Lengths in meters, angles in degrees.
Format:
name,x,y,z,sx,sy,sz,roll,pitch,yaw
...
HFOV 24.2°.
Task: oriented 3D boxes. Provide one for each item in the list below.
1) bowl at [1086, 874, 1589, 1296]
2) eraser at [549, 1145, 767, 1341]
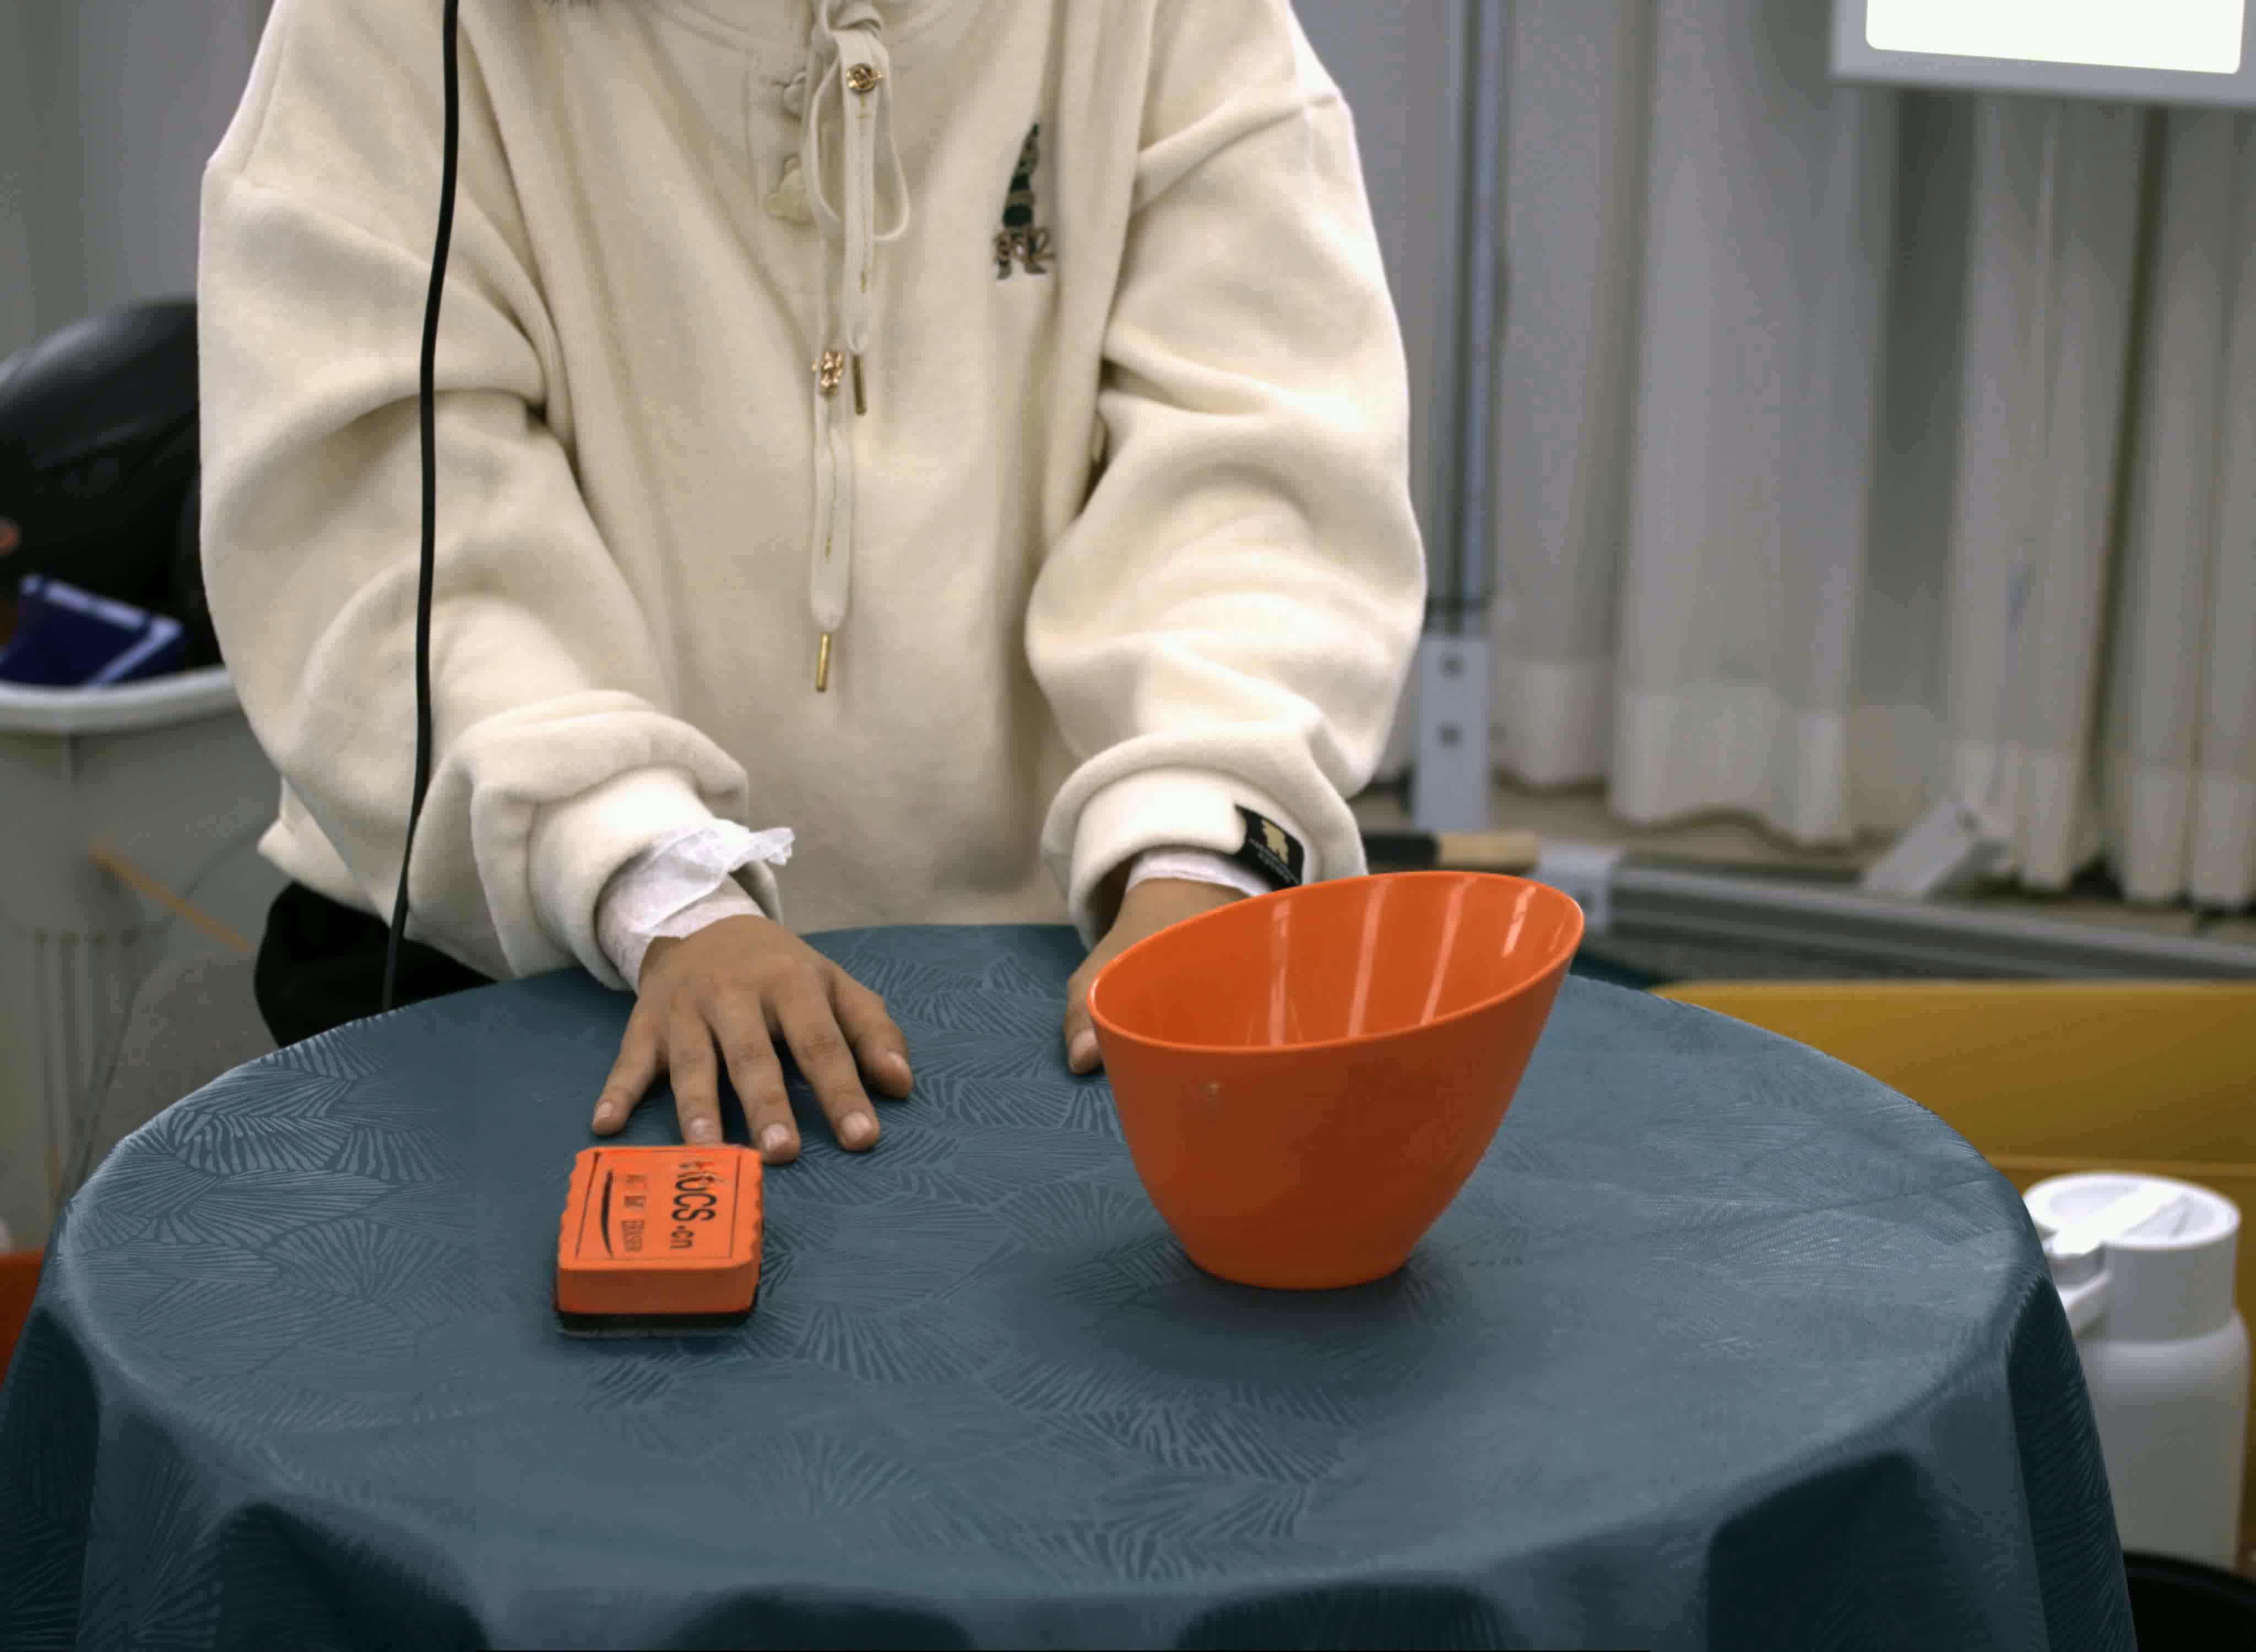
name,x,y,z,sx,sy,sz,roll,pitch,yaw
bowl,0.061,0.078,1.555,0.147,0.105,0.147,0,17,0
eraser,-0.137,0.121,1.541,0.059,0.023,0.107,-2,16,-1
